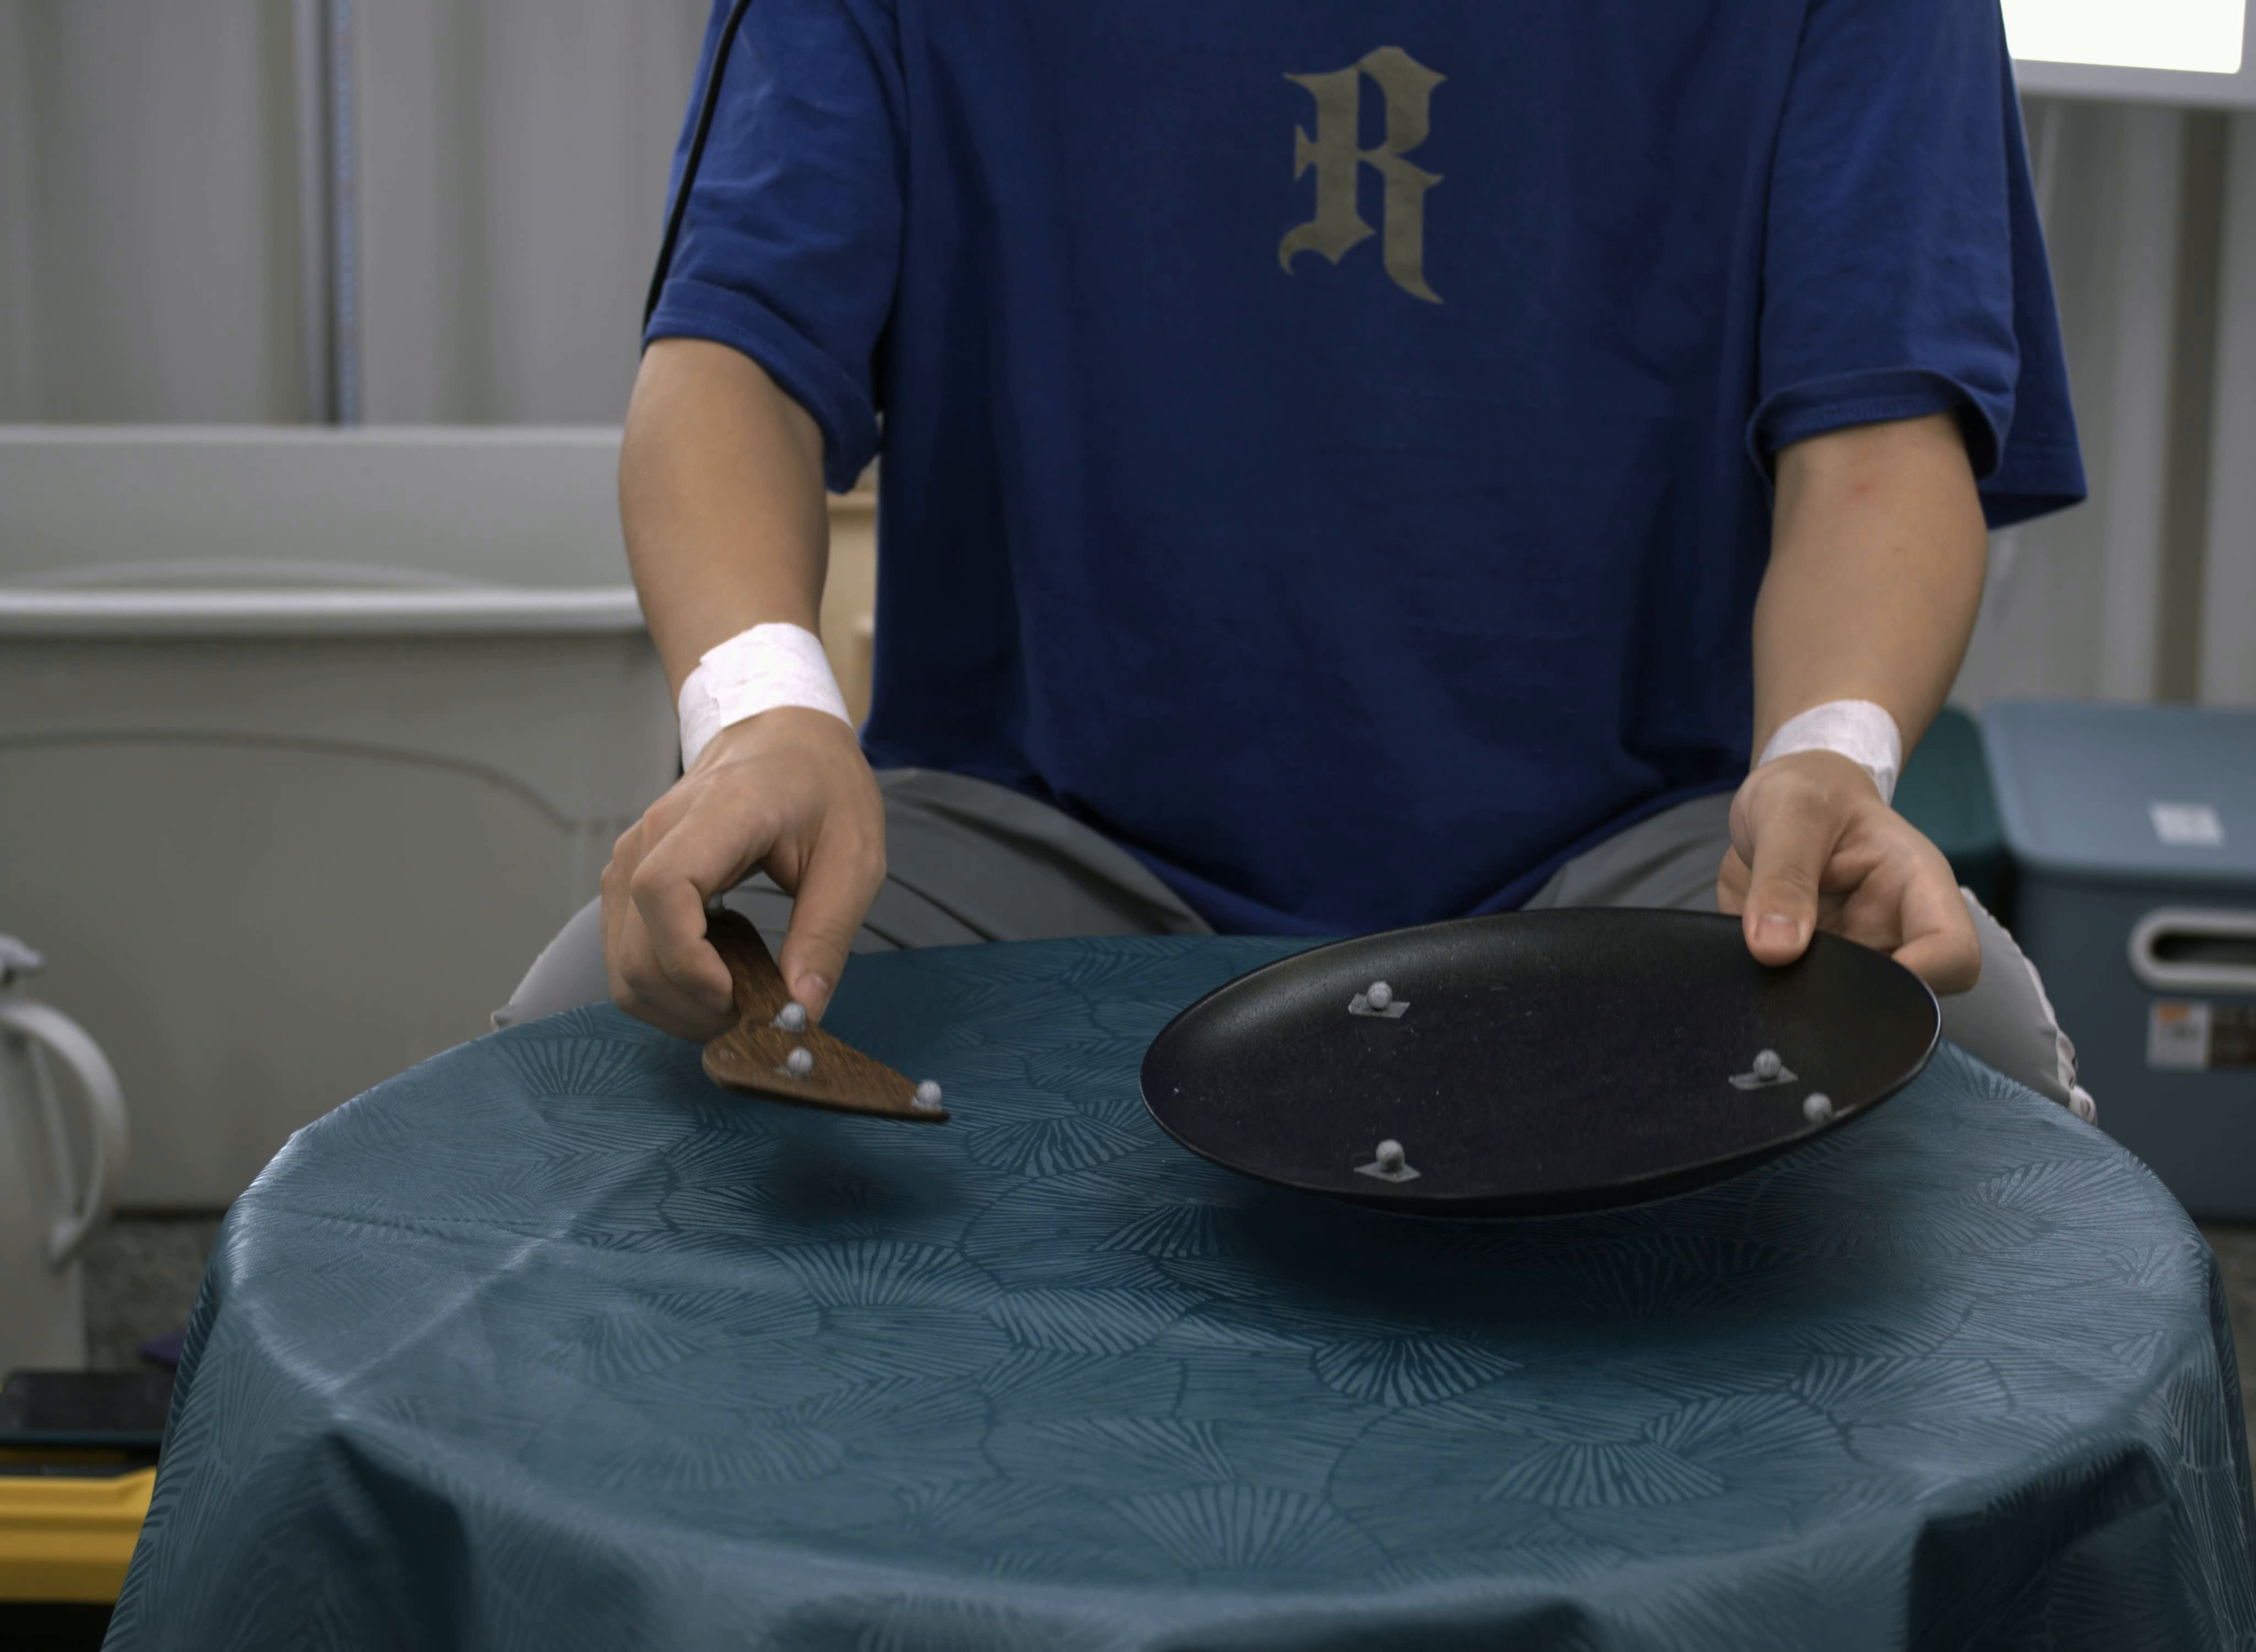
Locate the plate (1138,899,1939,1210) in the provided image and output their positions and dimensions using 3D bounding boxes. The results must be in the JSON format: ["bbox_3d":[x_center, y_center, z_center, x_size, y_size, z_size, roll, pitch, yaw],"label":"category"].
[{"bbox_3d":[0.124,0.072,1.596,0.243,0.023,0.243,-6,18,2],"label":"plate"}]

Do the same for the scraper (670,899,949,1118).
[{"bbox_3d":[-0.114,0.056,1.671,0.076,0.011,0.209,12,12,-19],"label":"scraper"}]
